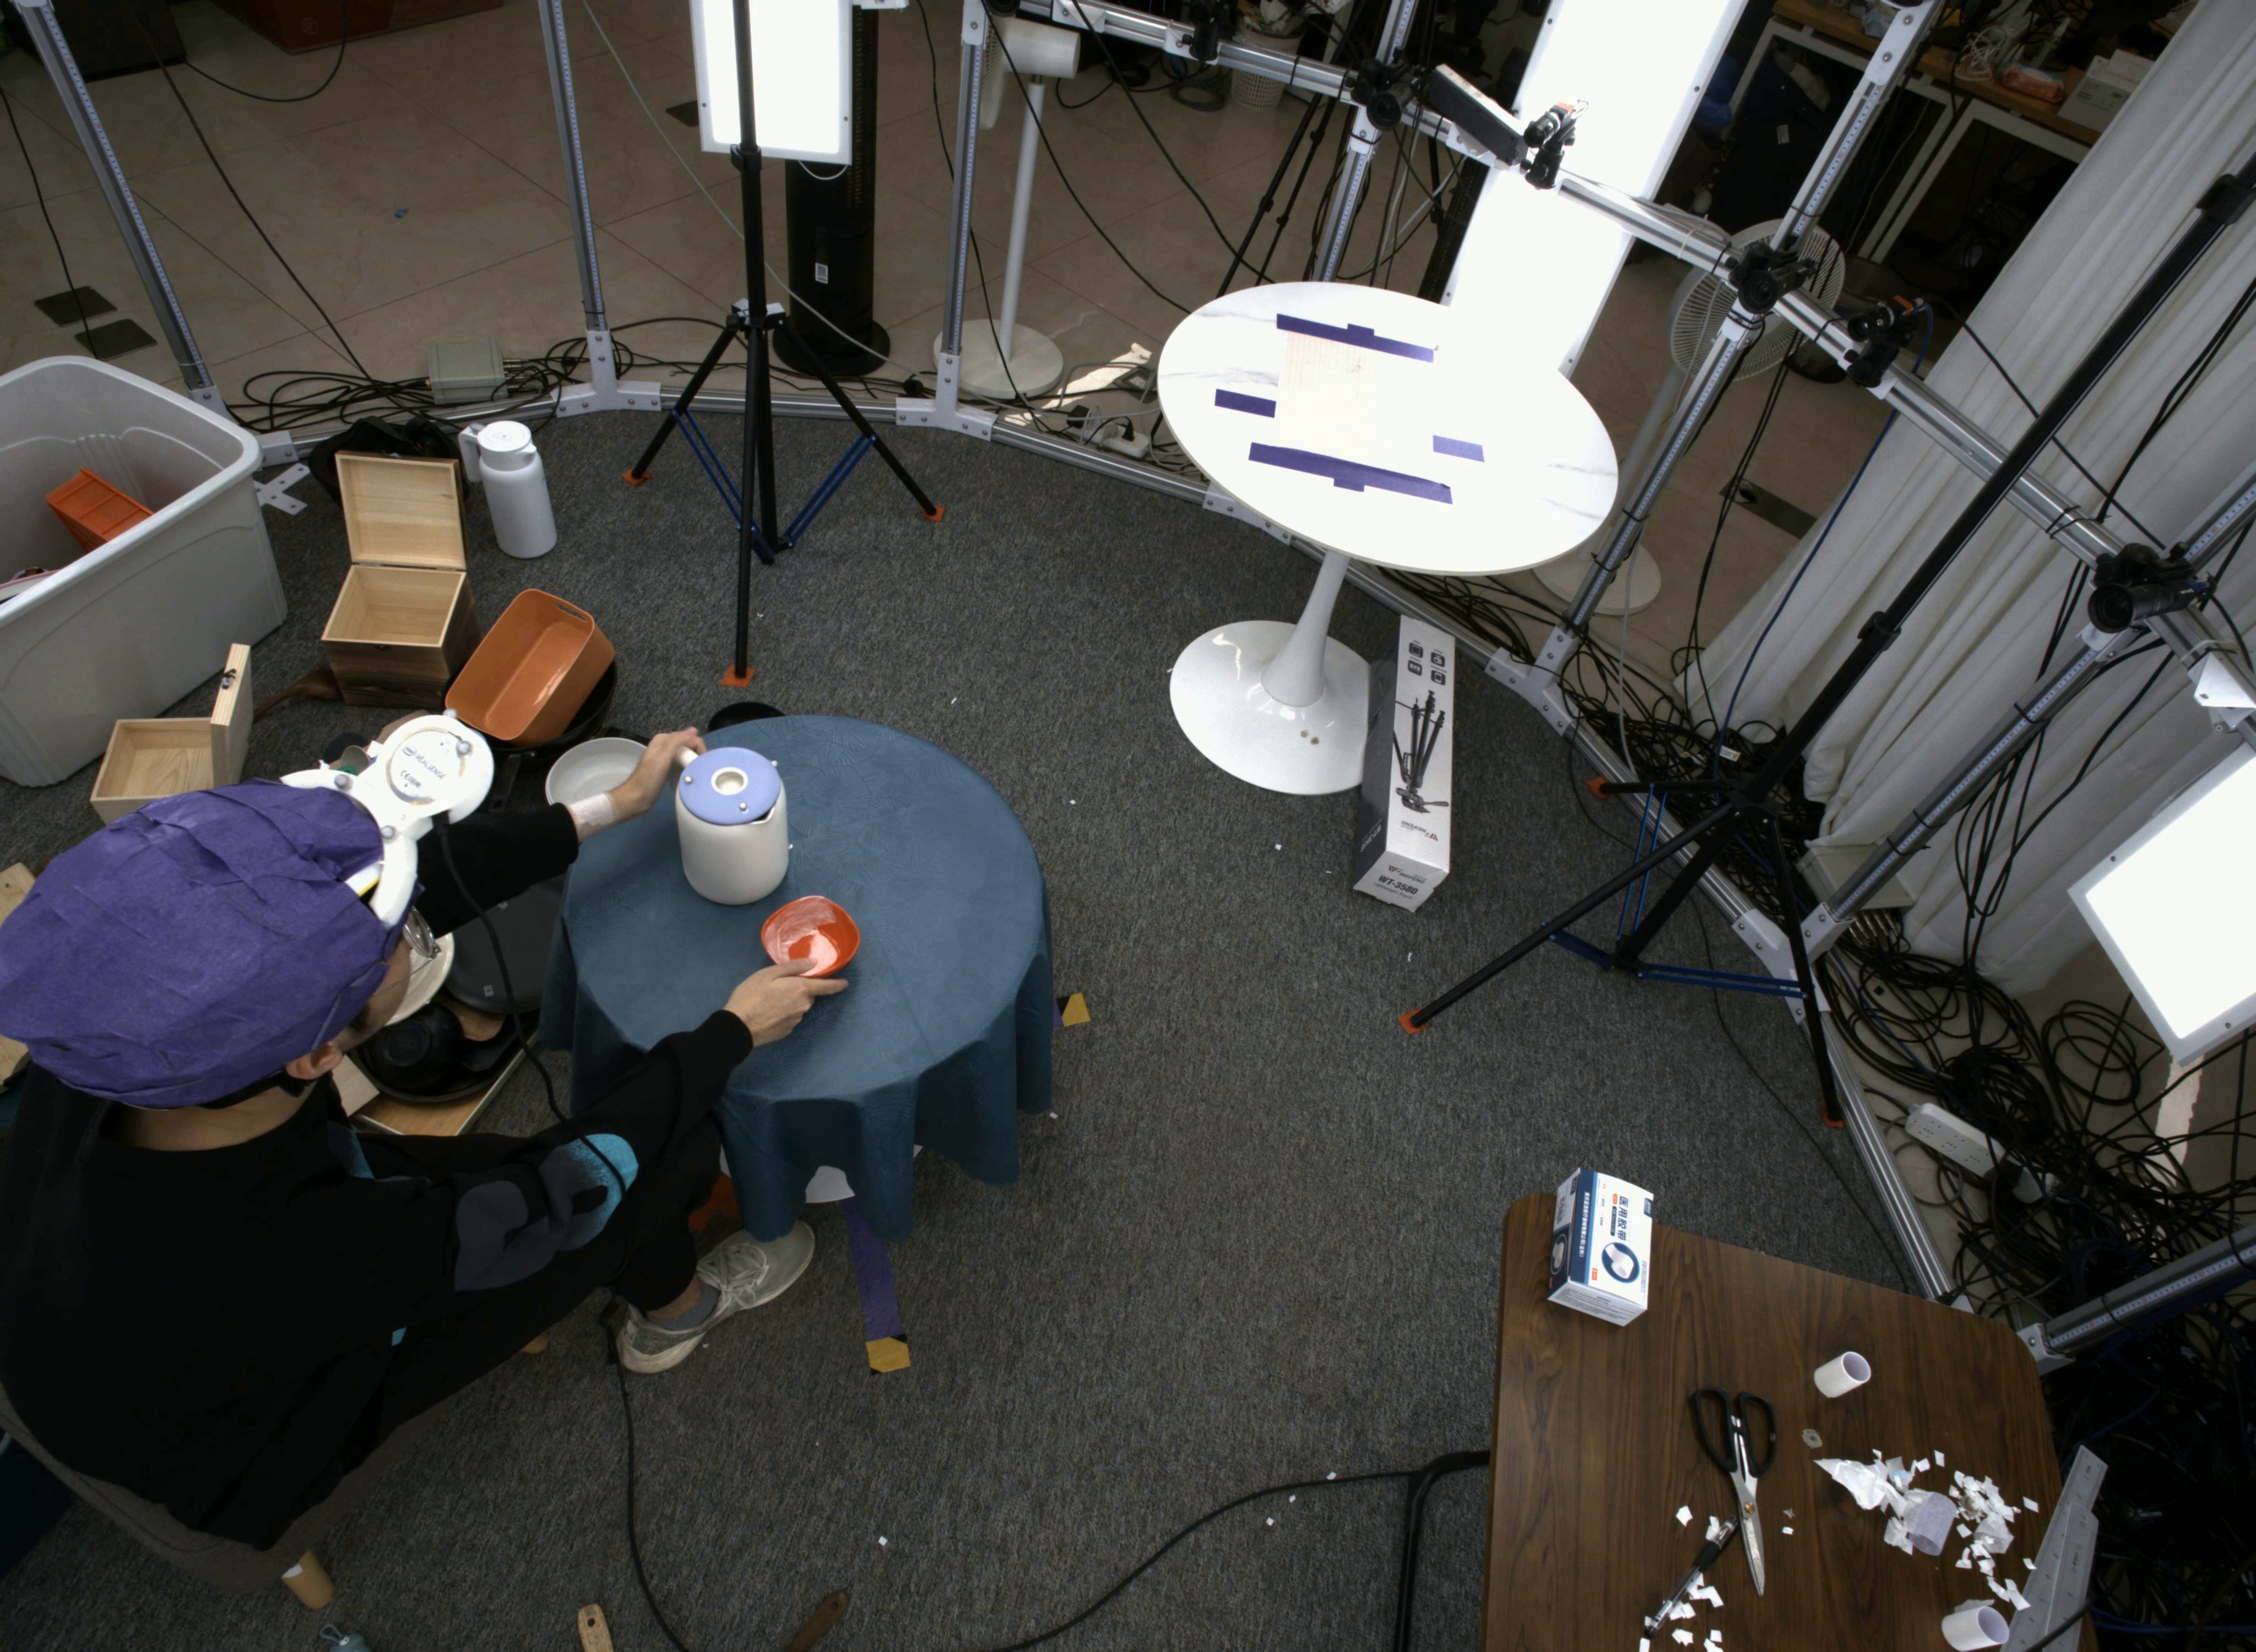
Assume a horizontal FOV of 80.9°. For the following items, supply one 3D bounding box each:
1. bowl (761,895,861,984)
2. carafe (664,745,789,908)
[{"bbox_3d":[-0.390,0.146,1.596,0.119,0.052,0.117,10,52,-11],"label":"bowl"},{"bbox_3d":[-0.510,-0.014,1.607,0.187,0.187,0.132,35,52,17],"label":"carafe"}]
